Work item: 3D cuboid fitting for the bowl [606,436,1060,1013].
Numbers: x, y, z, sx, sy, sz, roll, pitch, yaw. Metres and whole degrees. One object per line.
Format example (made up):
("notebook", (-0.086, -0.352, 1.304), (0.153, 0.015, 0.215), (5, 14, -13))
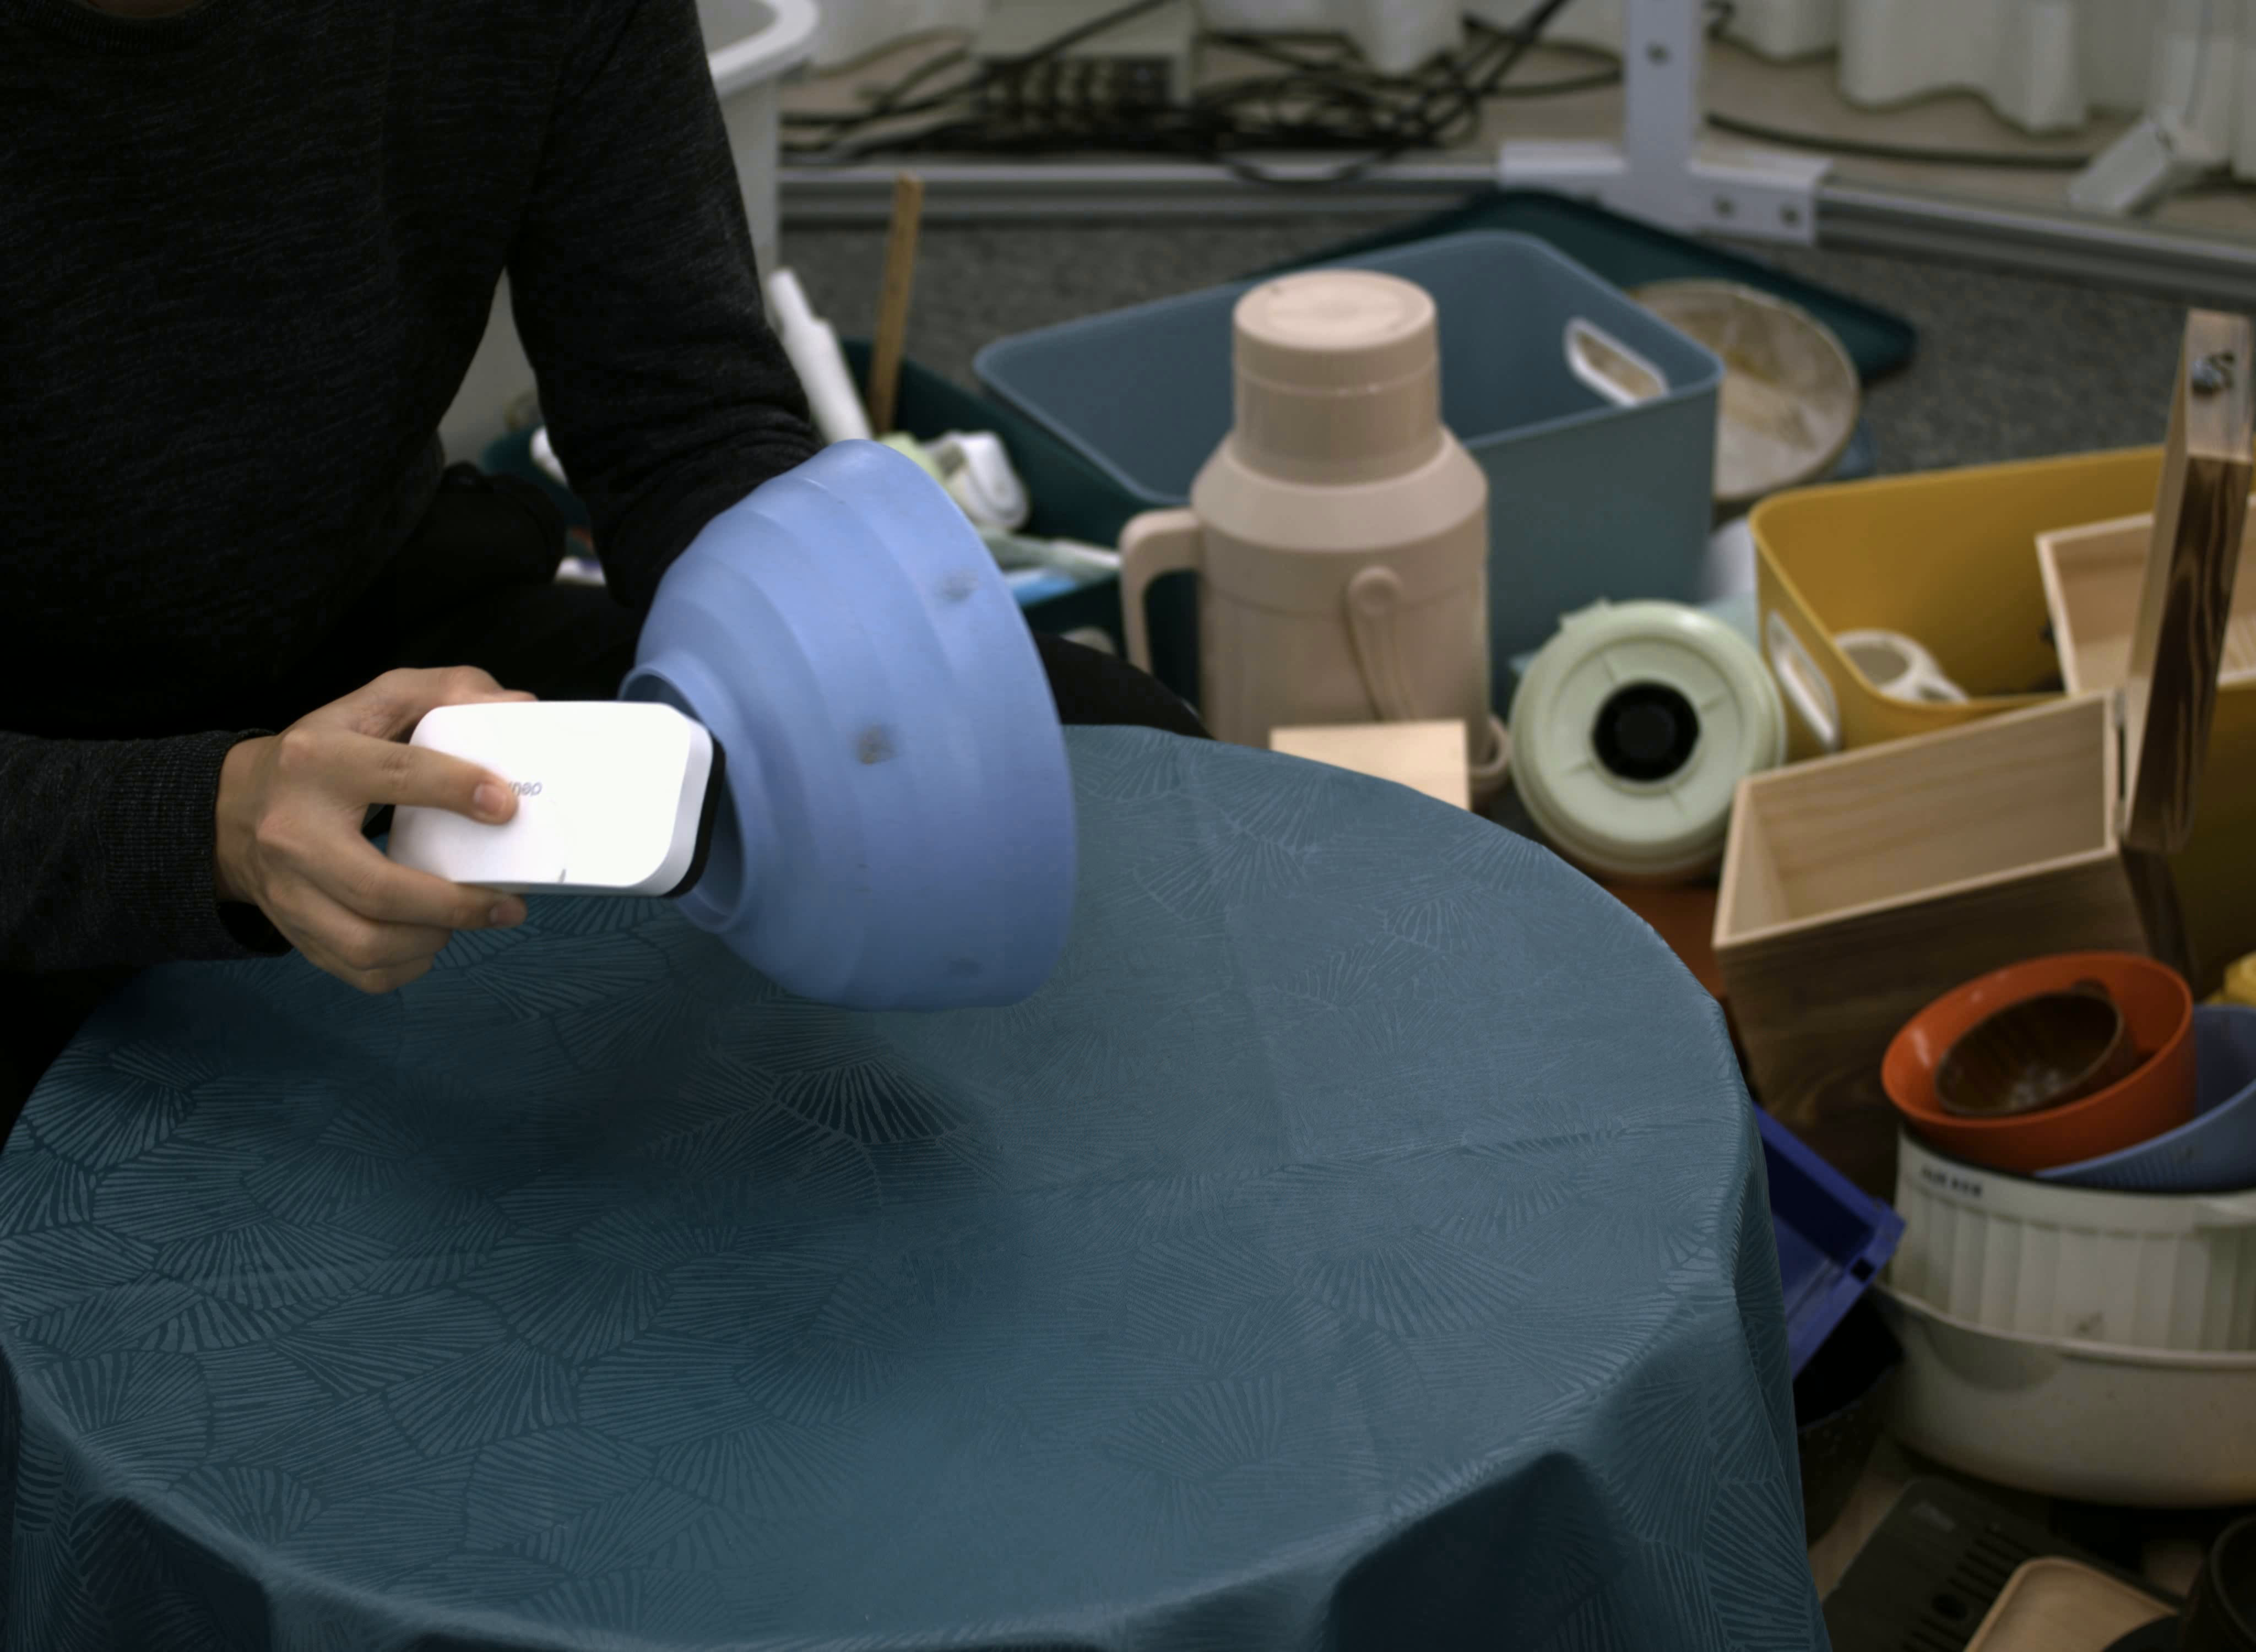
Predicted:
("bowl", (-0.111, -0.022, 1.856), (0.096, 0.194, 0.197), (-17, 30, -25))

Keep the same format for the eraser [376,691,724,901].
("eraser", (-0.188, -0.008, 1.813), (0.130, 0.064, 0.034), (1, -18, 39))
